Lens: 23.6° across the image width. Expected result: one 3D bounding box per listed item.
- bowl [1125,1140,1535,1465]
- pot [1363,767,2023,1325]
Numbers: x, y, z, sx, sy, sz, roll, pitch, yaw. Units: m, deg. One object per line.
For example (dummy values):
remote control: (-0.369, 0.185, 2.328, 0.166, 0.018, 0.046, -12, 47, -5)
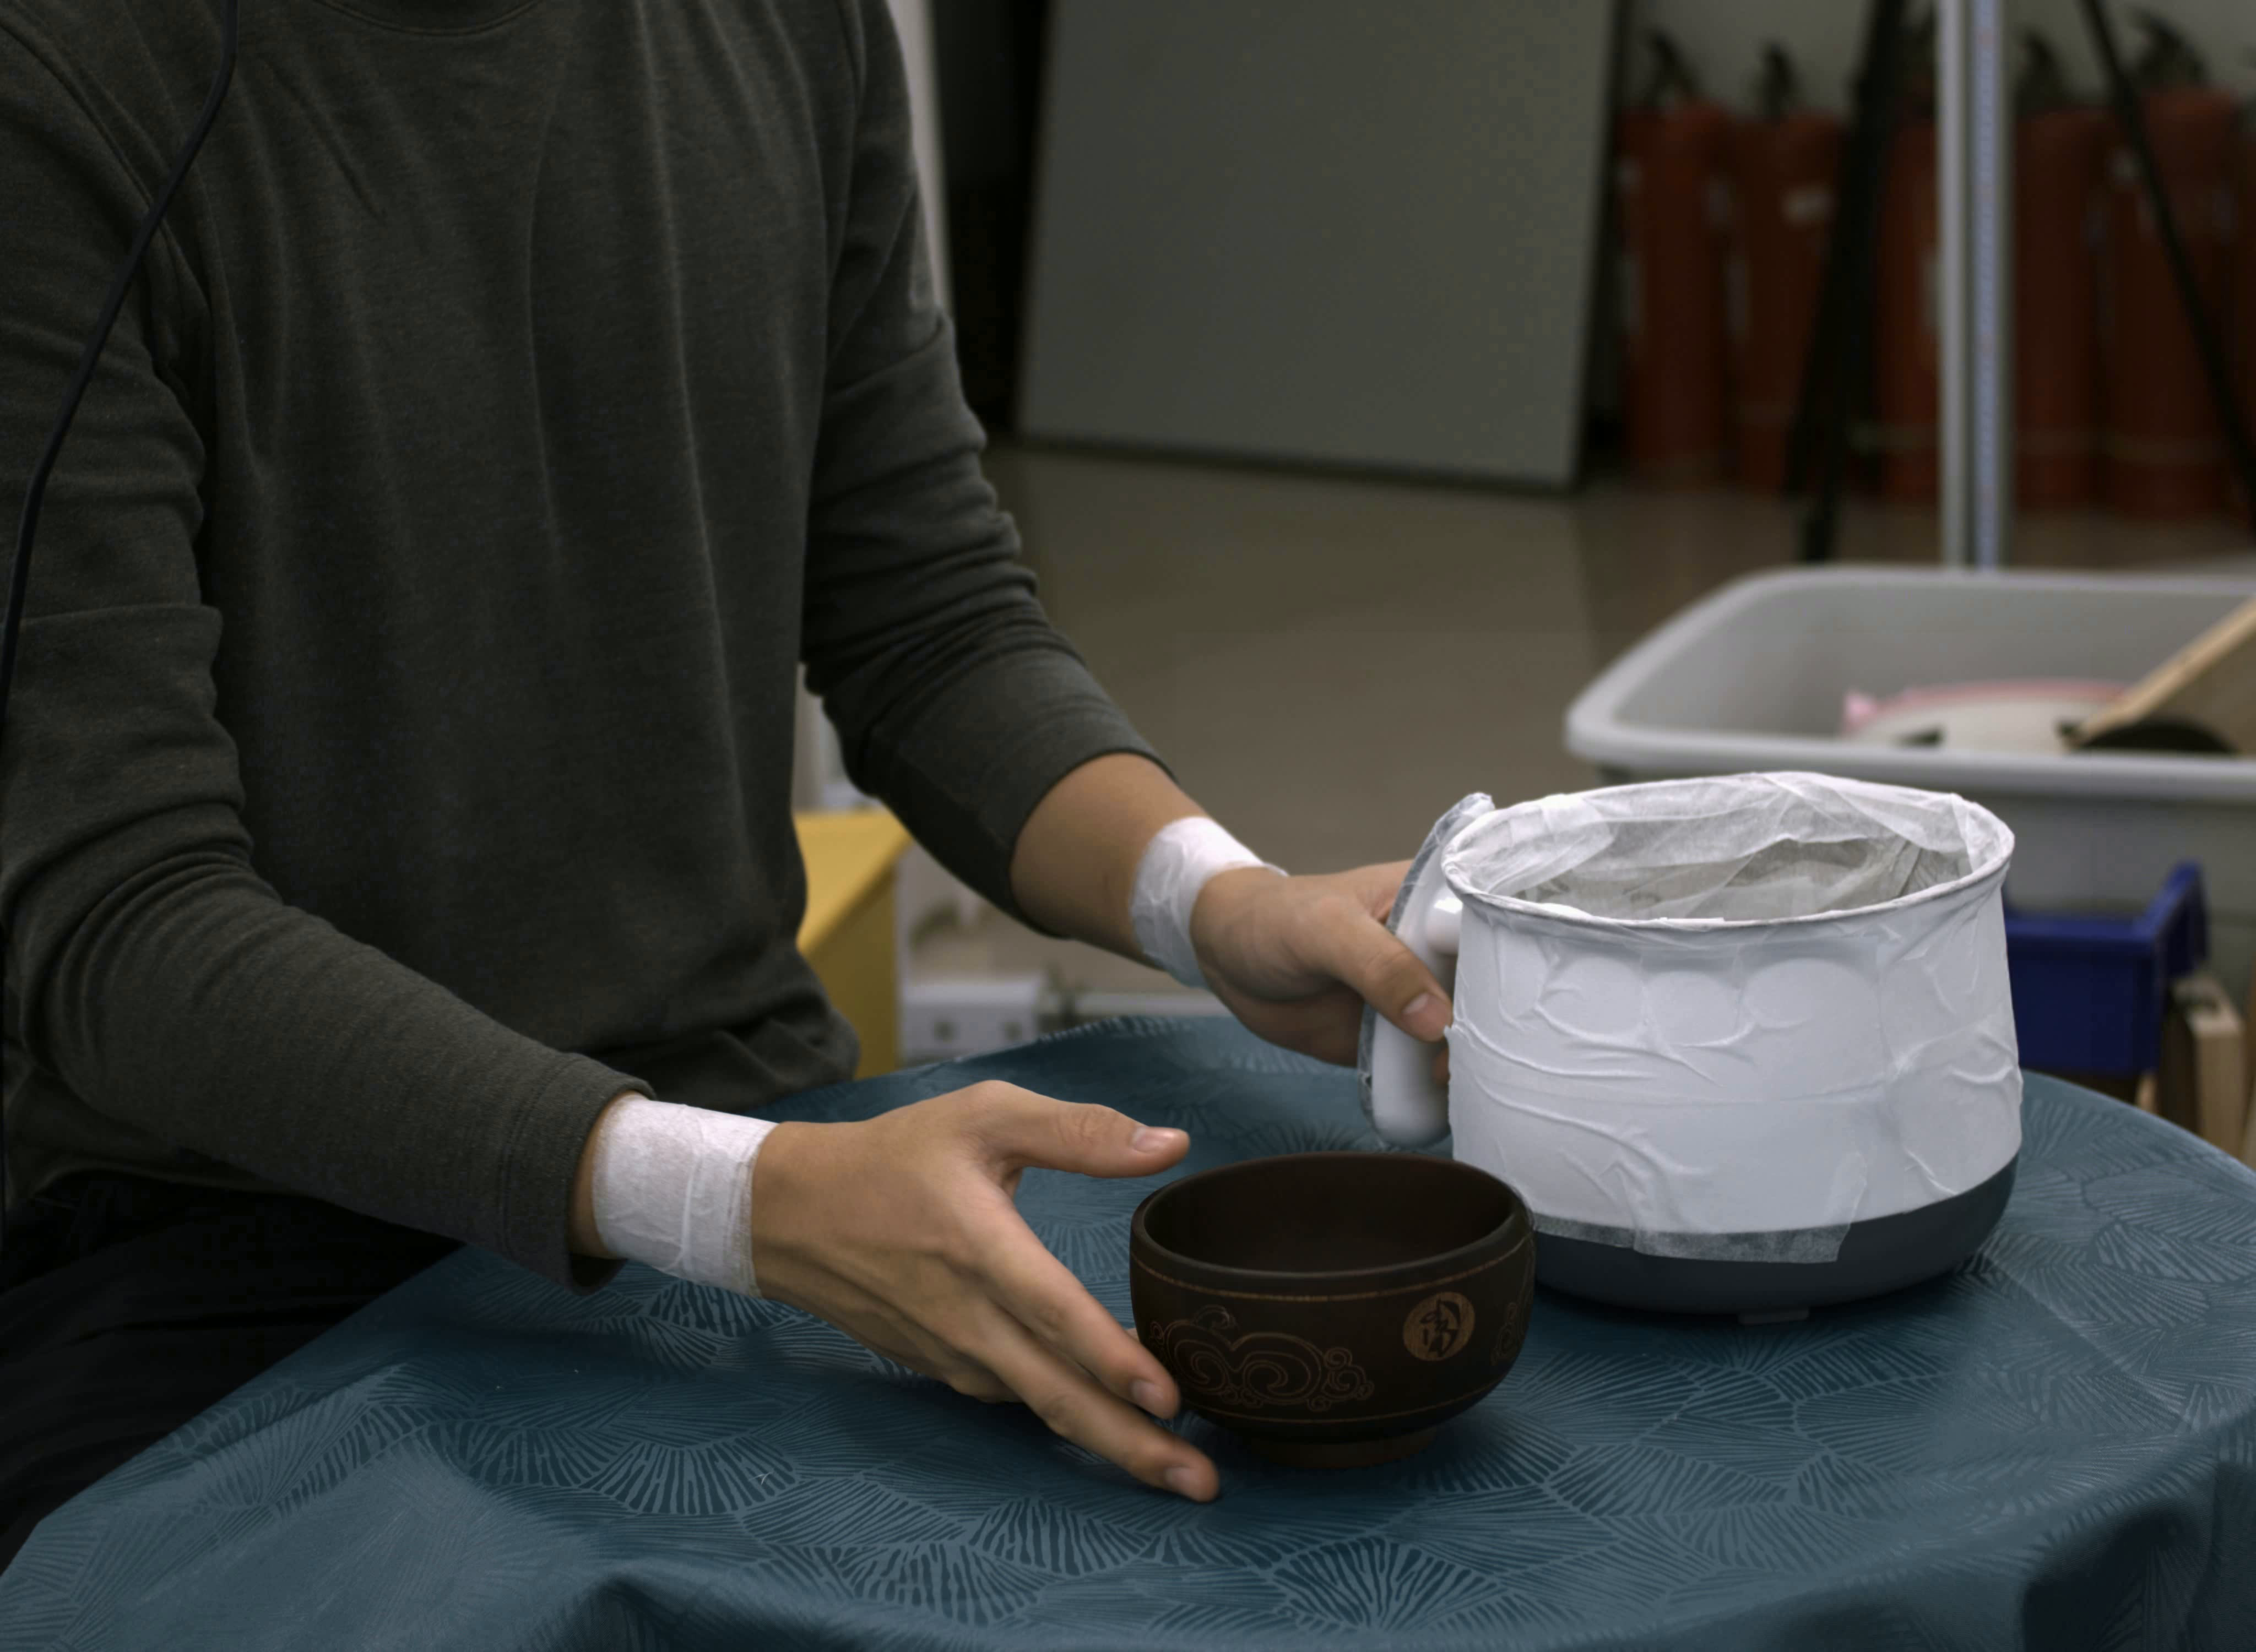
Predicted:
bowl: (0.059, 0.139, 1.530, 0.116, 0.070, 0.118, -6, 12, 0)
pot: (0.166, 0.063, 1.675, 0.236, 0.138, 0.175, 7, 18, 42)
